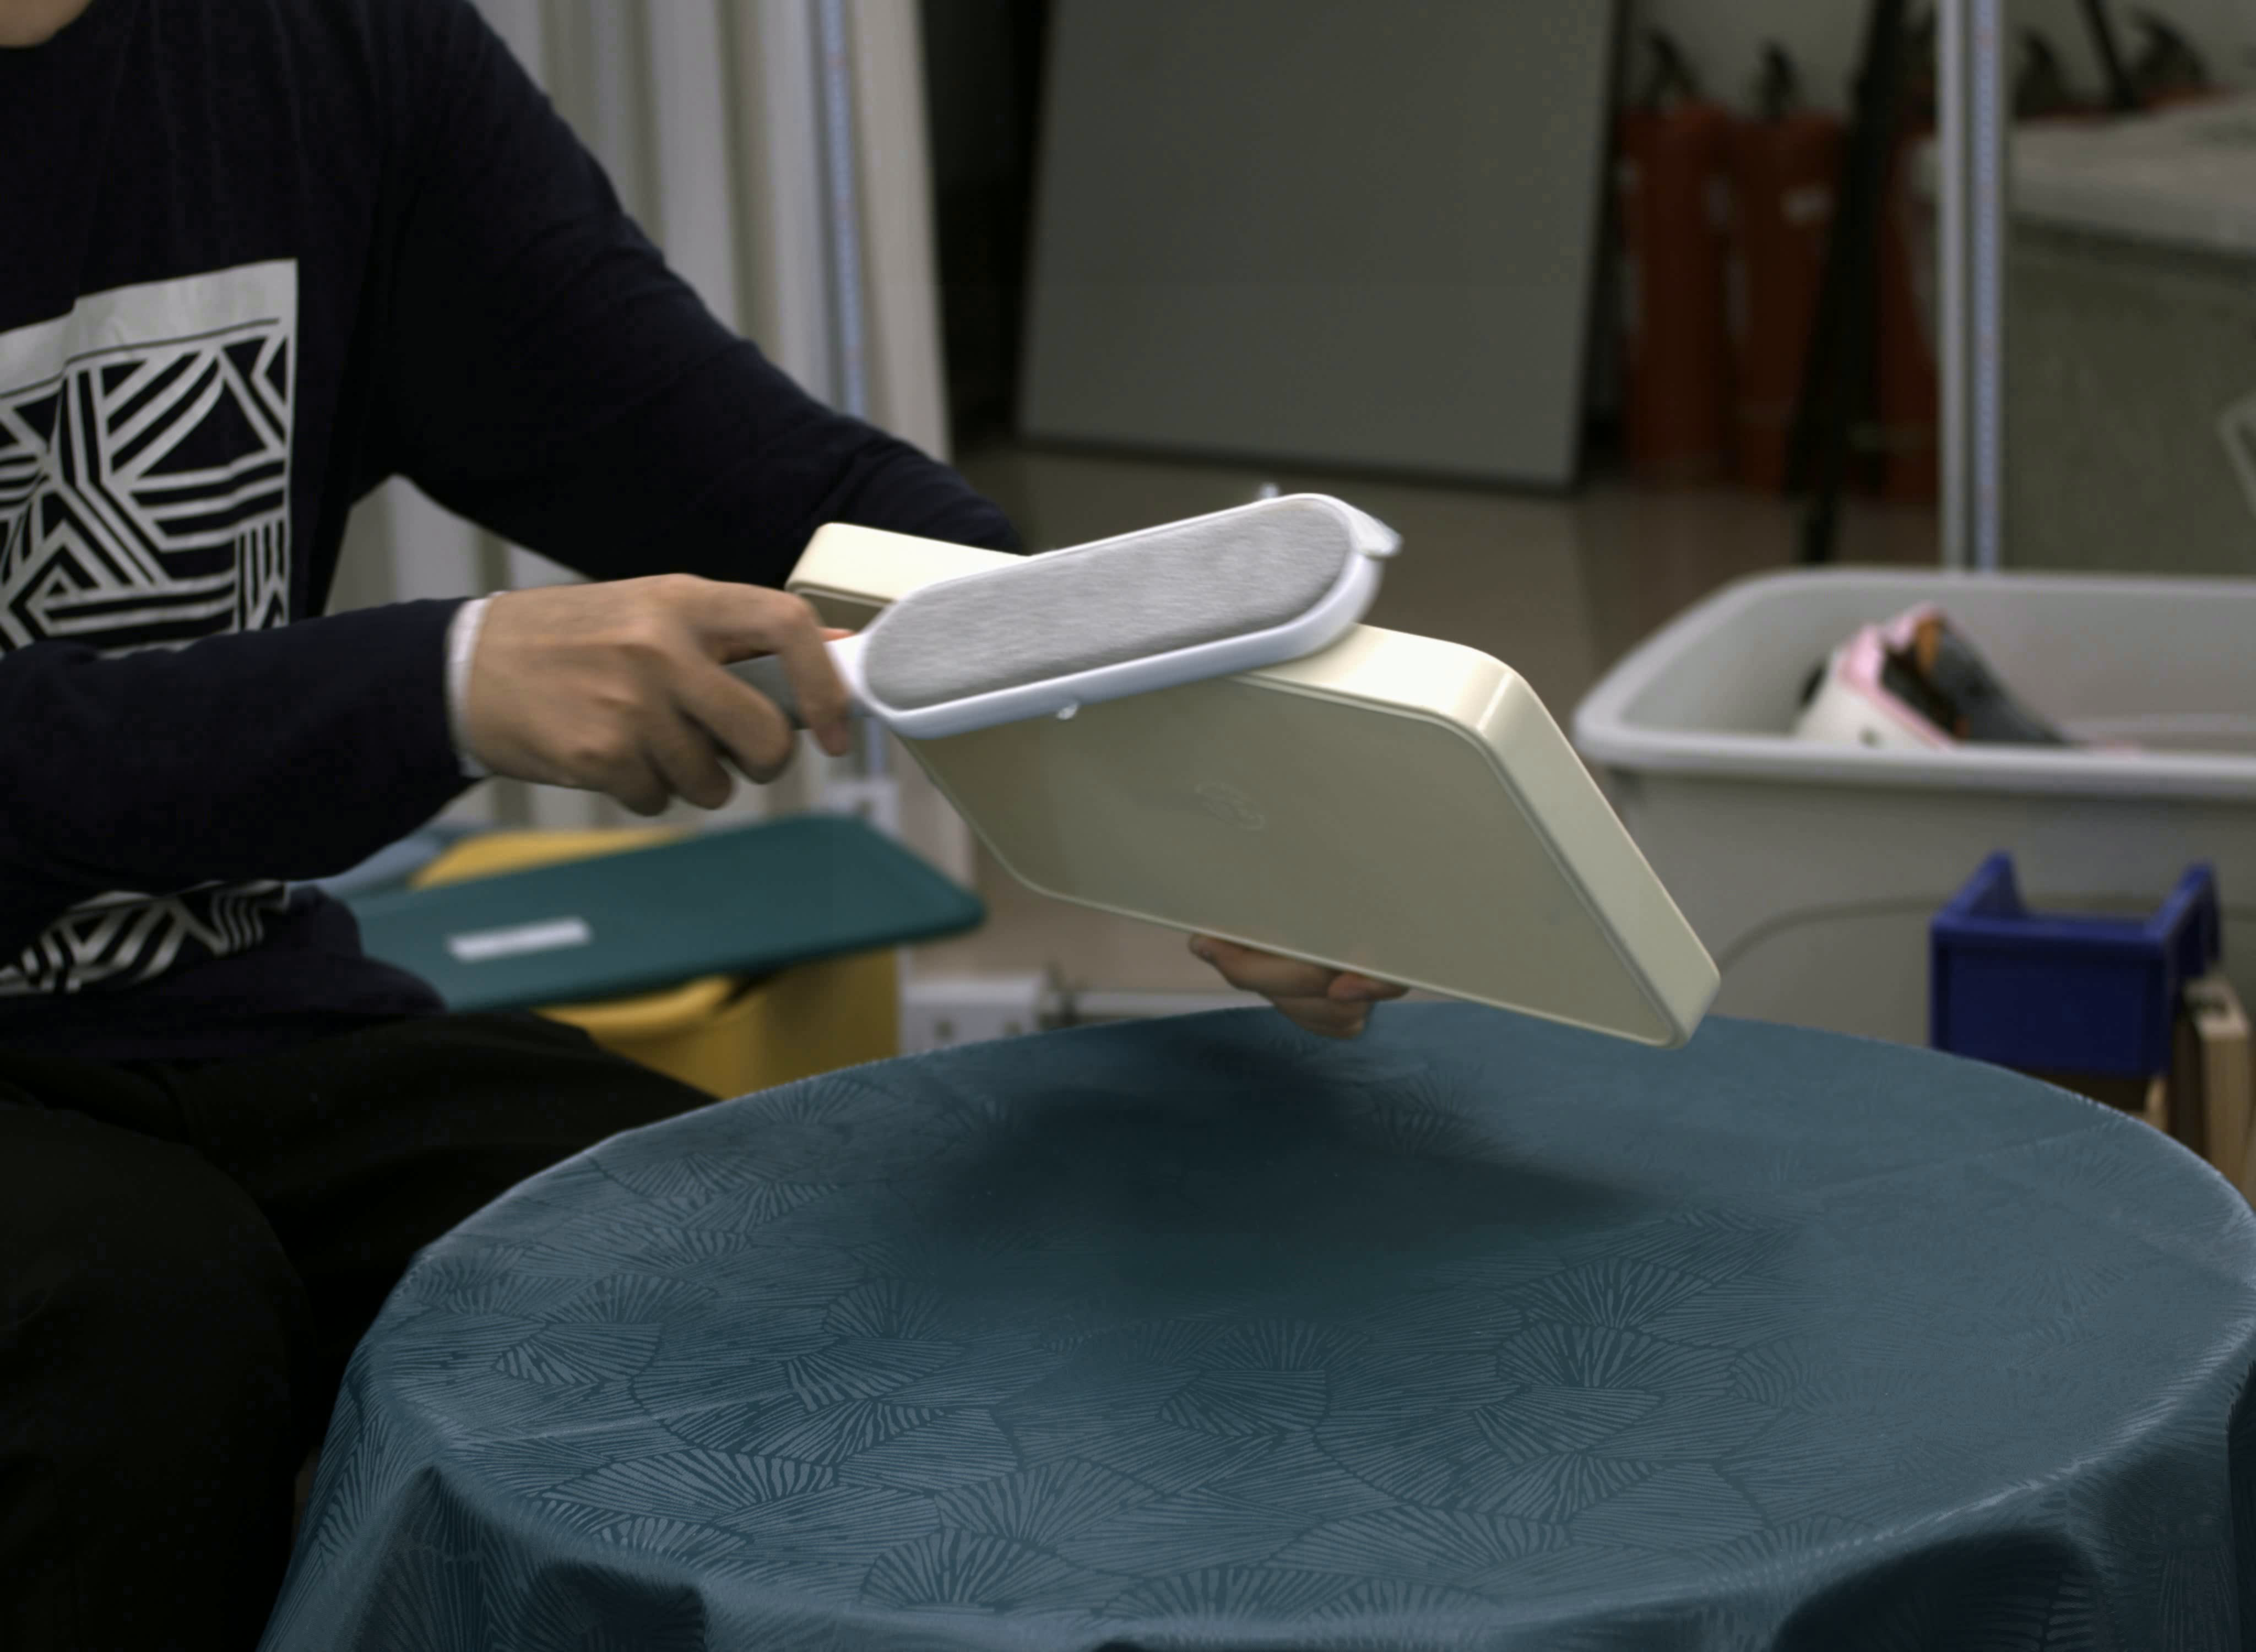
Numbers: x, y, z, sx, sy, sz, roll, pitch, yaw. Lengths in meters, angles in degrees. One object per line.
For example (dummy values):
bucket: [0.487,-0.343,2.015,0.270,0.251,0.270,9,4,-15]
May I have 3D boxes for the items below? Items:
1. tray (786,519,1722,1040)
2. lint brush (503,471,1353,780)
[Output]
tray: [0.038,-0.016,1.761,0.303,0.190,0.027,11,59,41]
lint brush: [-0.068,-0.058,1.714,0.309,0.060,0.020,-13,-36,26]
